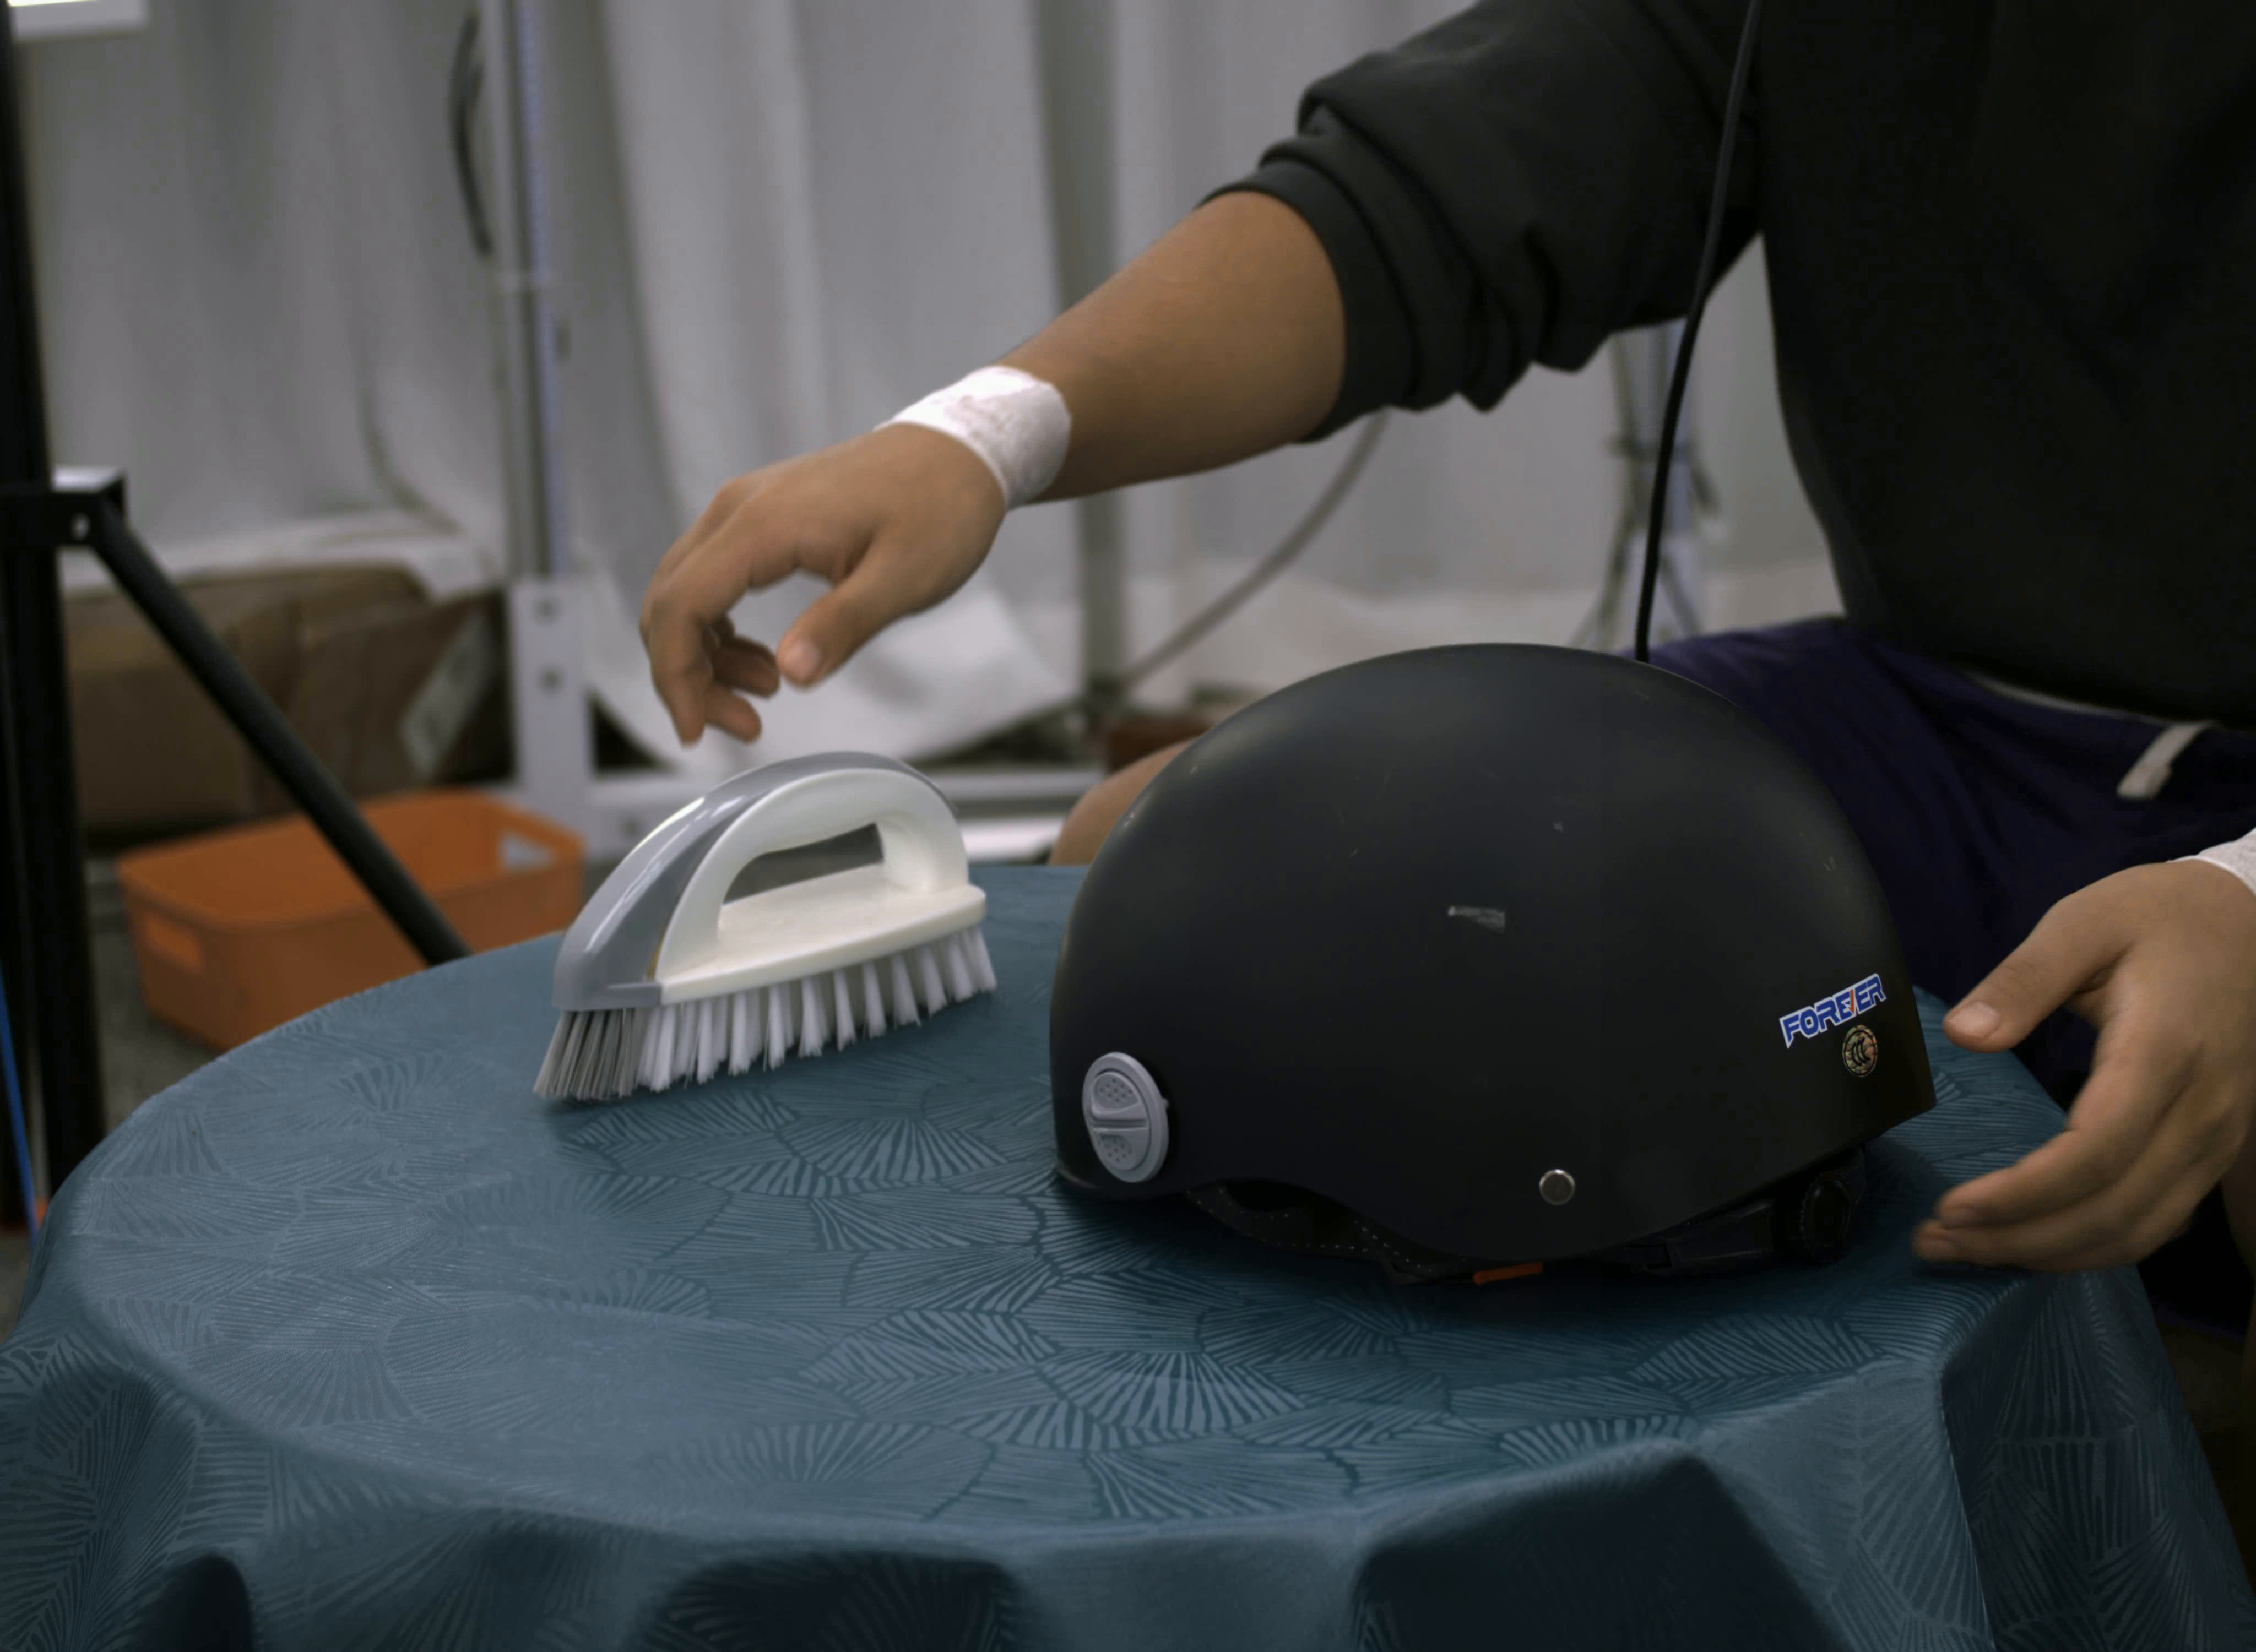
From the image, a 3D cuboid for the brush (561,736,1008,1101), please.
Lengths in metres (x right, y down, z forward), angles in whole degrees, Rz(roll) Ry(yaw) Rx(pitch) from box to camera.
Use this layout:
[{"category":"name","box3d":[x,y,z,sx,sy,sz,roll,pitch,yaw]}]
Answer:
[{"category":"brush","box3d":[-0.117,0.026,1.701,0.171,0.094,0.063,-19,20,-41]}]

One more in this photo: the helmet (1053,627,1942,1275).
[{"category":"helmet","box3d":[0.100,0.027,1.538,0.279,0.167,0.225,10,19,44]}]
